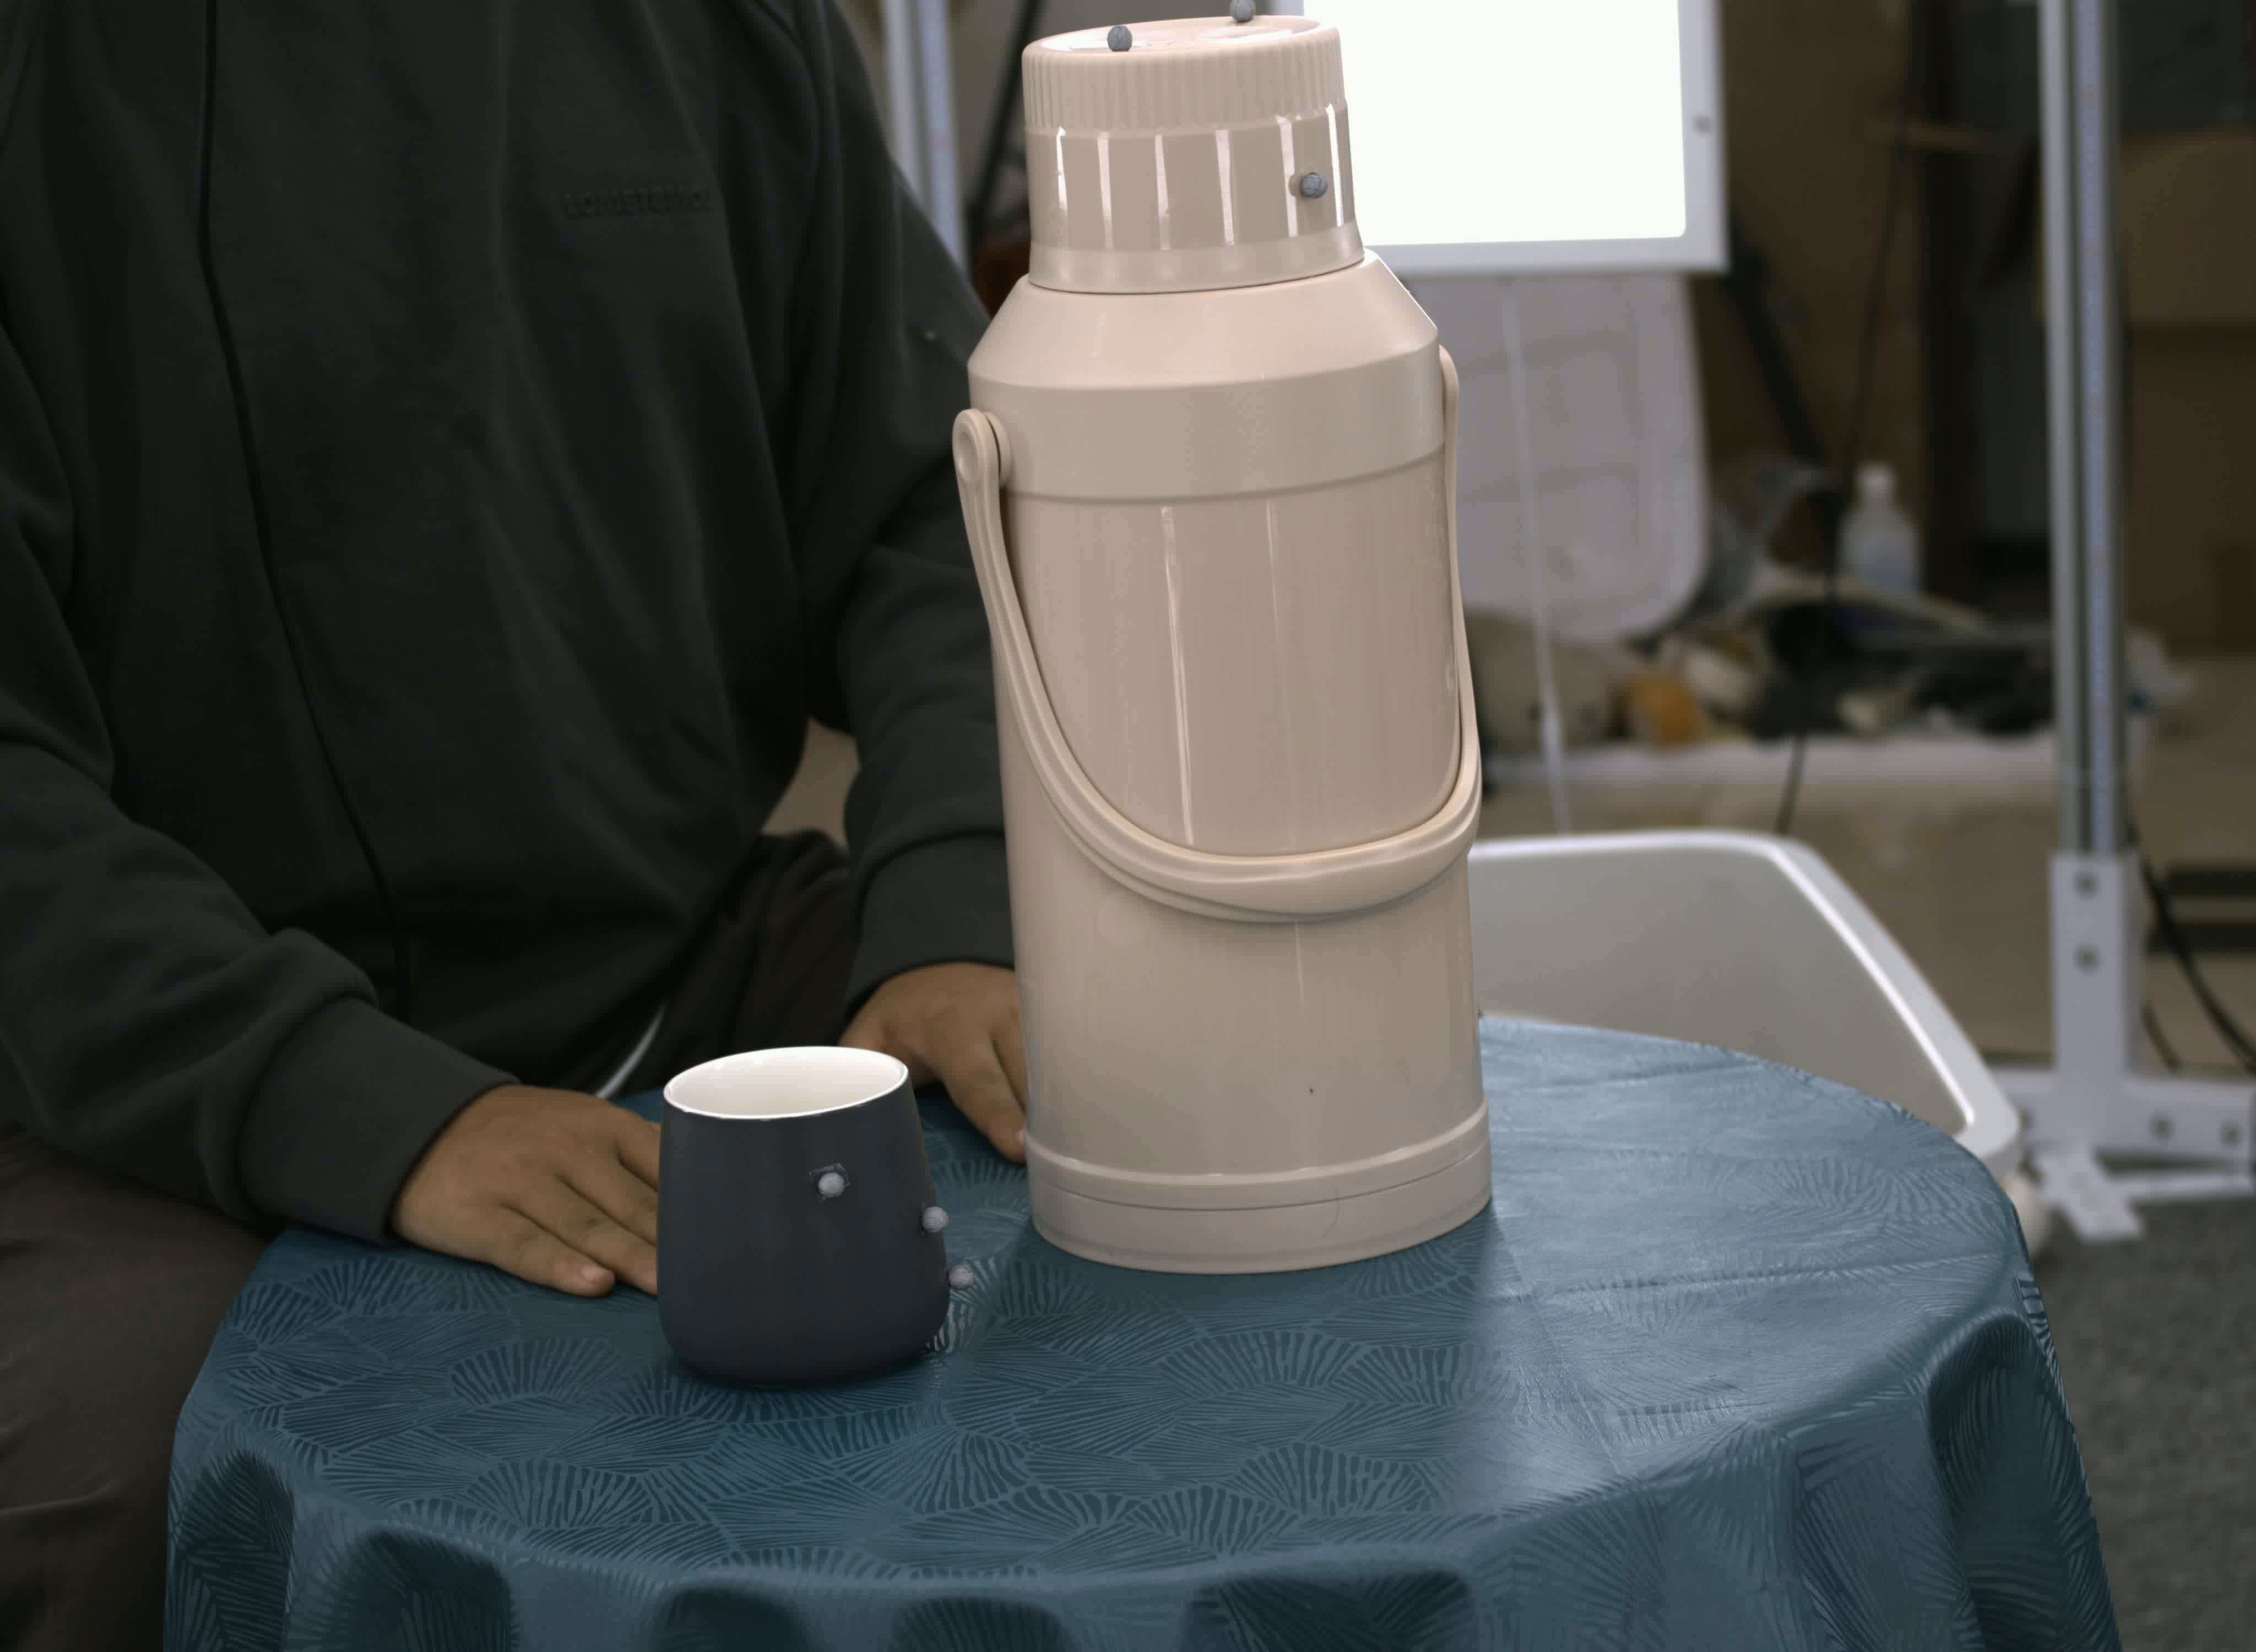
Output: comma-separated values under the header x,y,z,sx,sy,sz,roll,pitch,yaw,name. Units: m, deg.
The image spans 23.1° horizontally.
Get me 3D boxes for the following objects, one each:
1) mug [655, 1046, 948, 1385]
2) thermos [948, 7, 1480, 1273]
x,y,z,sx,sy,sz,roll,pitch,yaw,name
-0.110,0.121,1.768,0.092,0.090,0.124,-8,14,-17,mug
0.025,-0.067,1.842,0.172,0.408,0.210,-10,15,-23,thermos
